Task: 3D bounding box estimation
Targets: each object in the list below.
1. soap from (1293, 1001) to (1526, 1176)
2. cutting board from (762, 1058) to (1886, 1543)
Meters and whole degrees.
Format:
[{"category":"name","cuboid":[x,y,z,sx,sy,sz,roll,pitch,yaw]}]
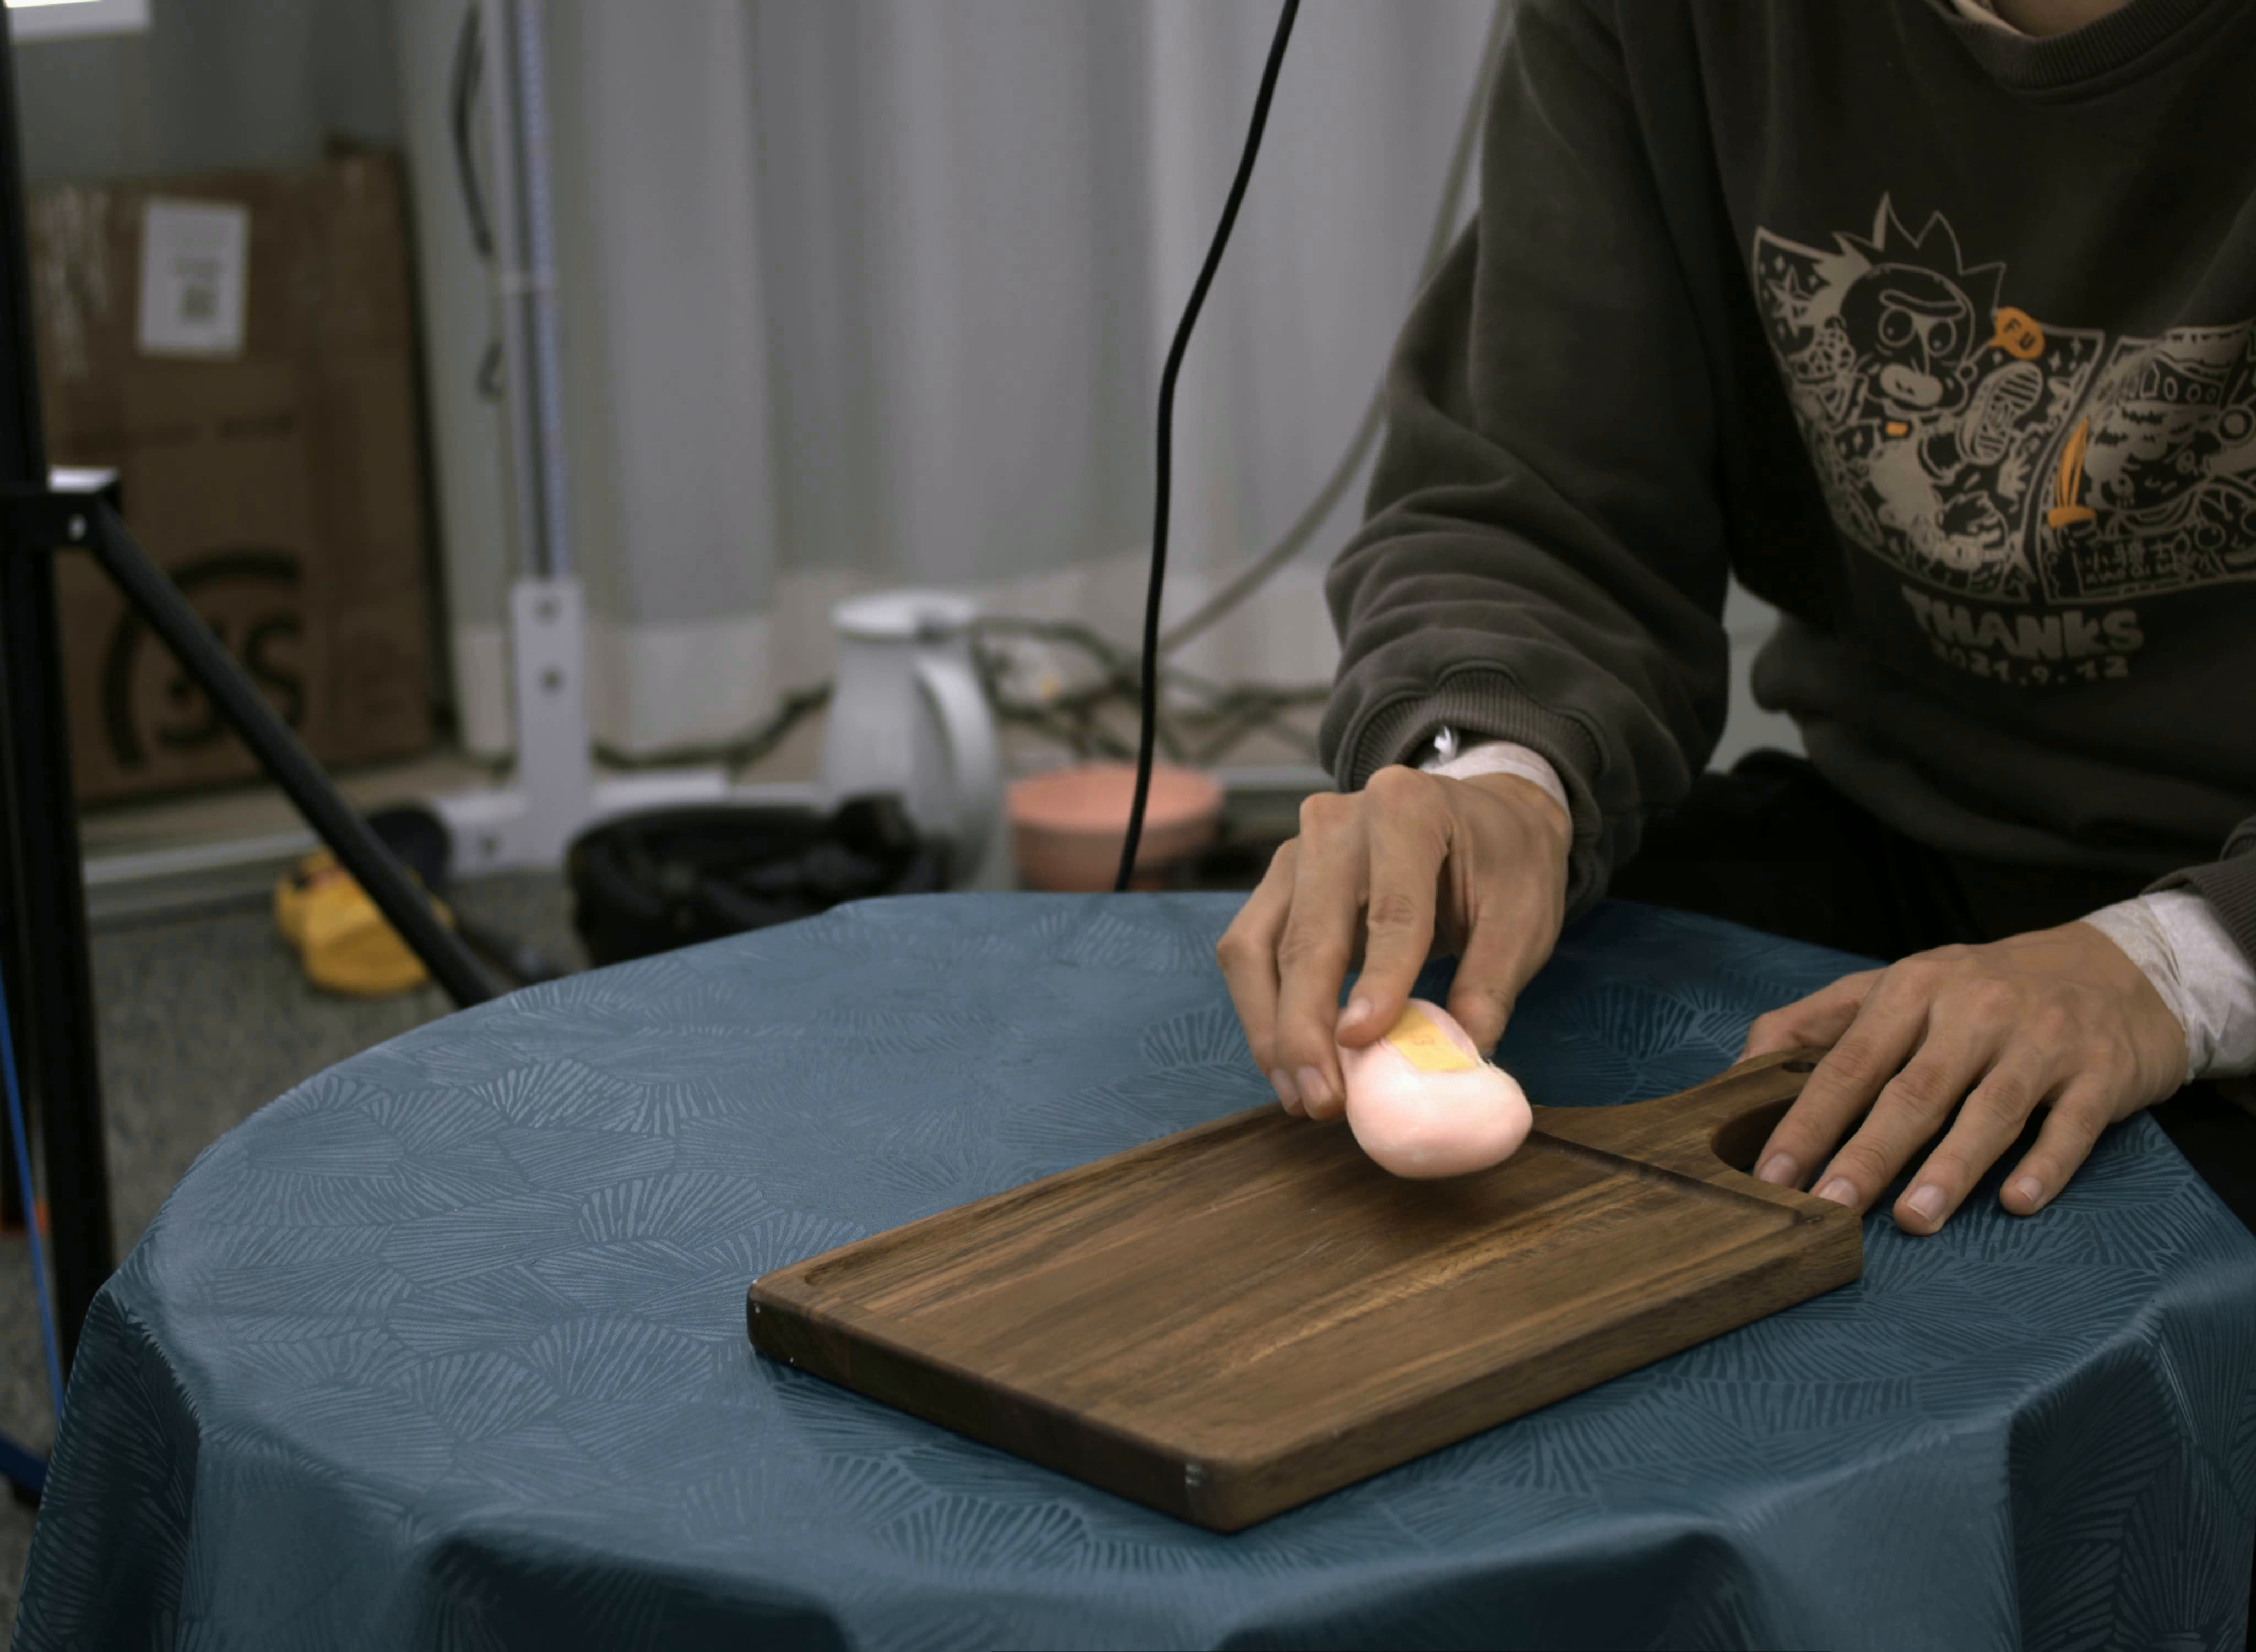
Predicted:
[{"category":"soap","cuboid":[0.080,0.075,1.516,0.050,0.030,0.095,-6,17,-12]},{"category":"cutting board","cuboid":[0.092,0.117,1.477,0.344,0.023,0.206,-15,20,-38]}]
